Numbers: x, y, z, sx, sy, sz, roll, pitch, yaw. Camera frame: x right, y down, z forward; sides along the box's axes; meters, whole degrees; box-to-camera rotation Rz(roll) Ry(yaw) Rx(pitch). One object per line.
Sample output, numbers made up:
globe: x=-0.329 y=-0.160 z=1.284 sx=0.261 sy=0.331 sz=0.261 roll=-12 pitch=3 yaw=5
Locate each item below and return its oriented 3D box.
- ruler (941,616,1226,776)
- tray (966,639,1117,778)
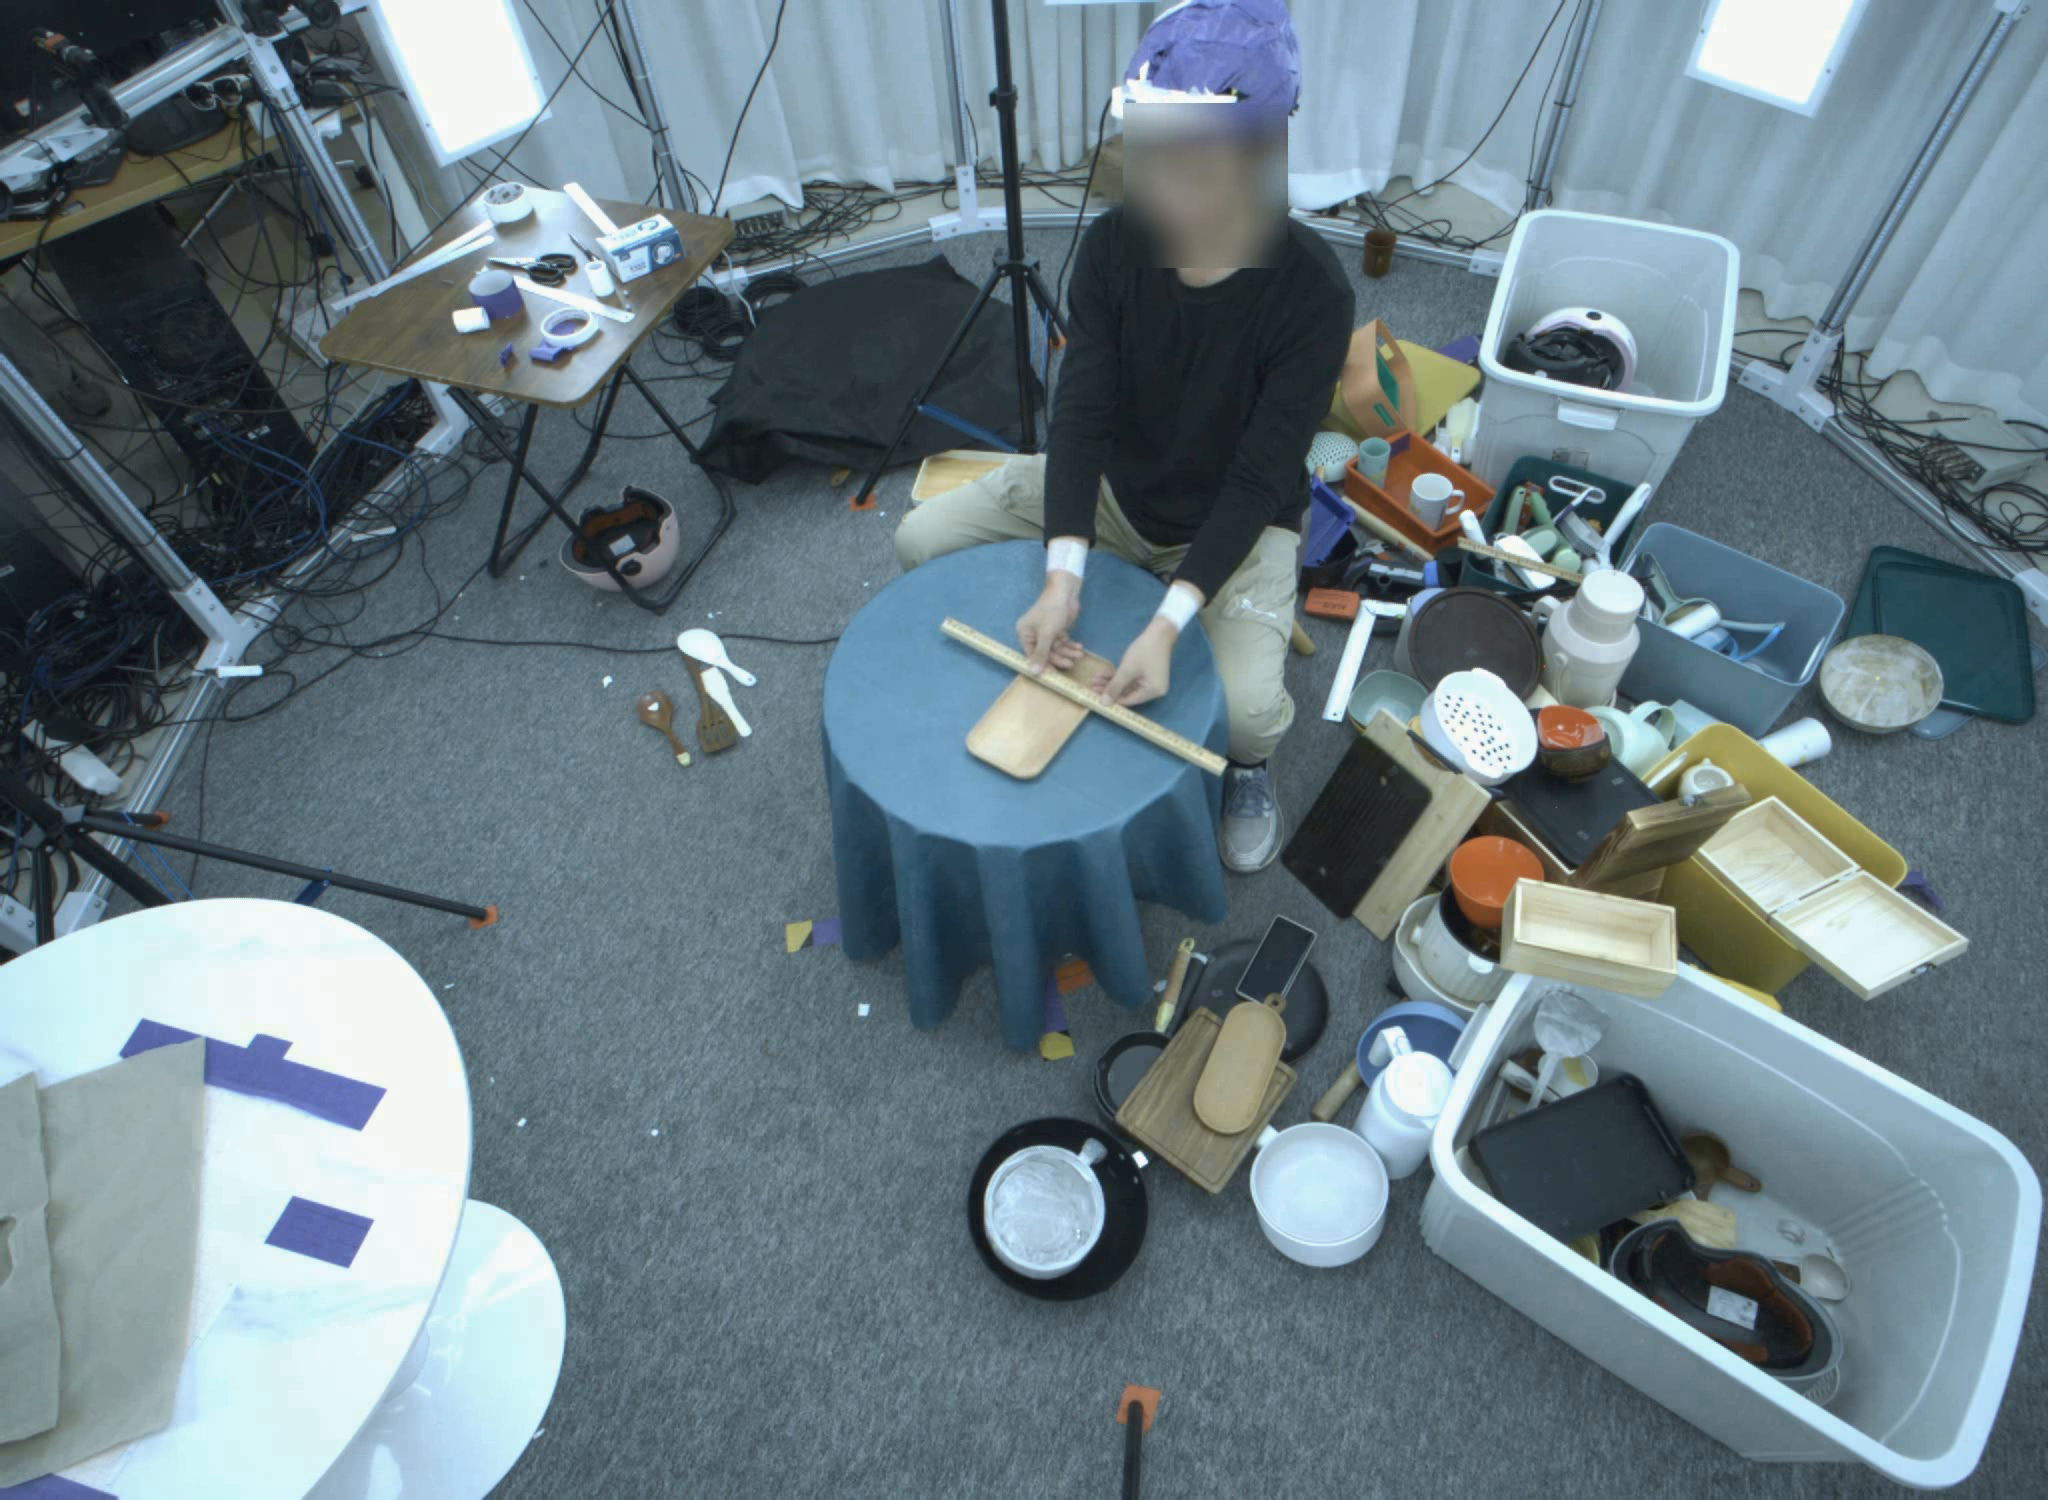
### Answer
ruler: x=0.078 y=-0.087 z=1.820 sx=0.493 sy=0.006 sz=0.027 roll=29 pitch=82 yaw=20
tray: x=0.028 y=-0.063 z=1.822 sx=0.129 sy=0.023 sz=0.252 roll=30 pitch=60 yaw=19
